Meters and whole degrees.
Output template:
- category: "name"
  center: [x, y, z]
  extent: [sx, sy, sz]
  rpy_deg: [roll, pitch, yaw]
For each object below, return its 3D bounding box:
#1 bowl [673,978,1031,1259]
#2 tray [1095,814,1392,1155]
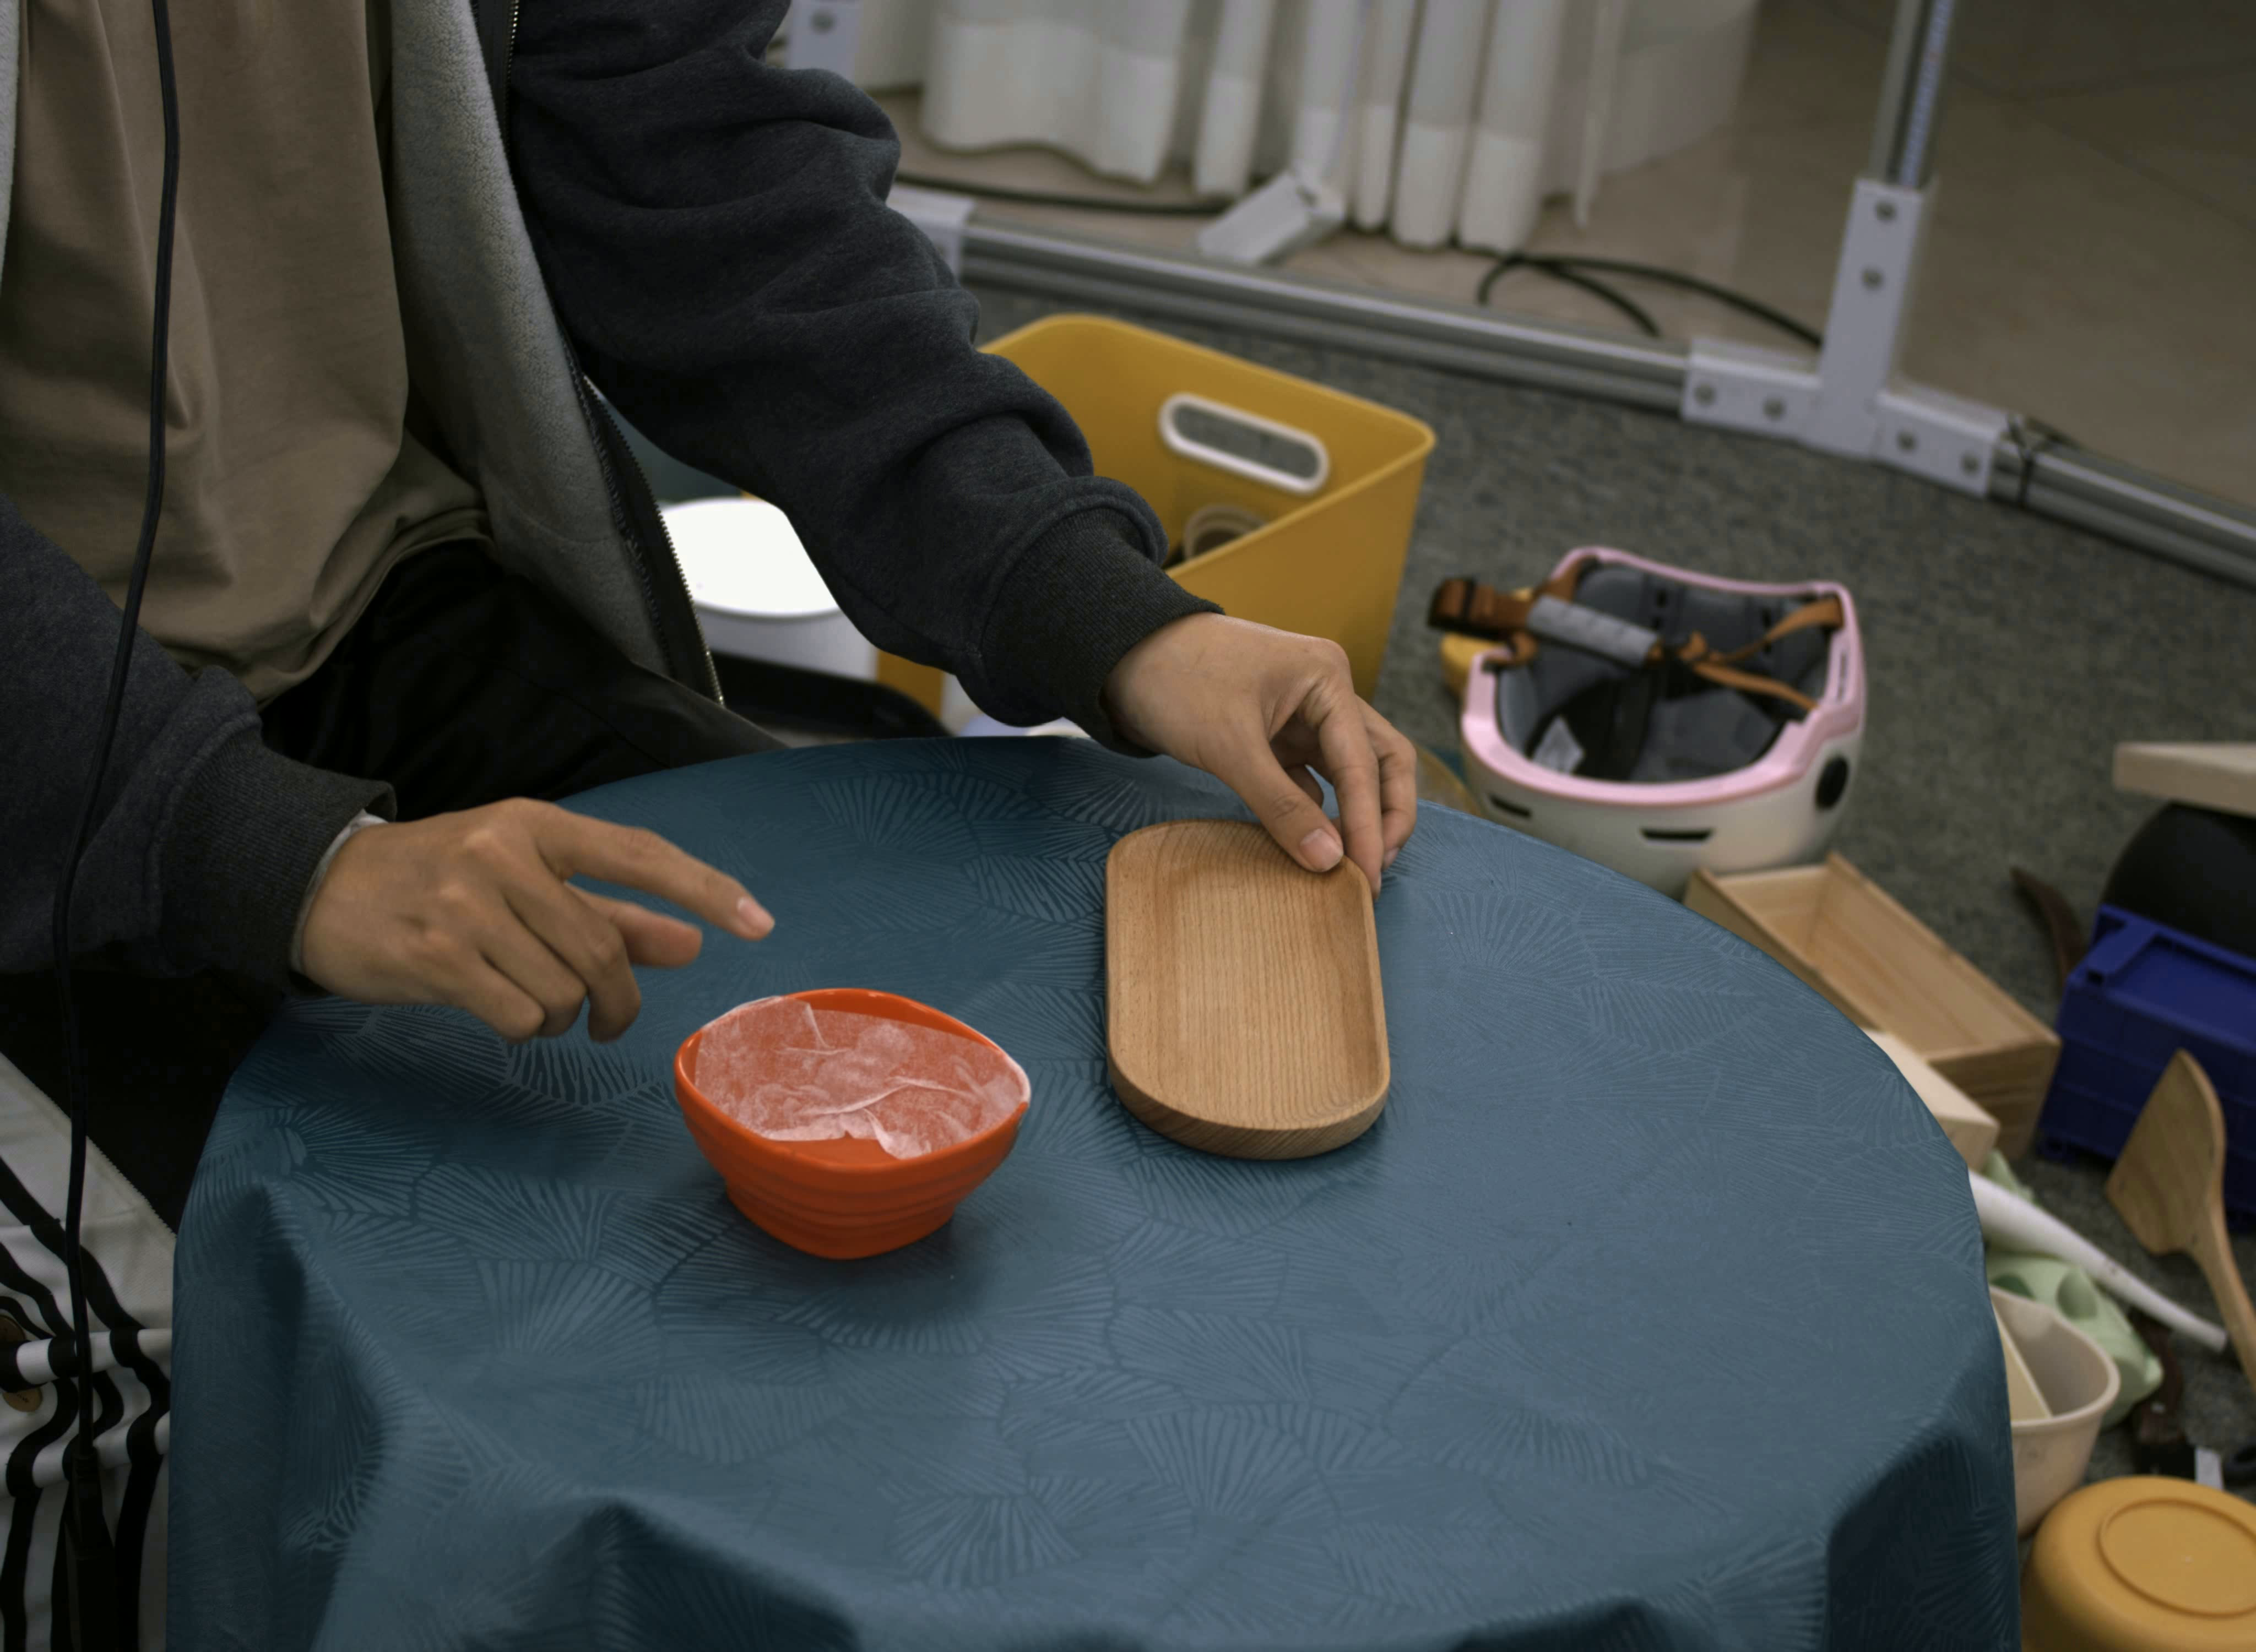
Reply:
- category: "bowl"
  center: [-0.094, 0.101, 1.764]
  extent: [0.118, 0.051, 0.119]
  rpy_deg: [6, 29, -3]
- category: "tray"
  center: [0.040, 0.055, 1.927]
  extent: [0.101, 0.020, 0.232]
  rpy_deg: [5, 26, -5]
